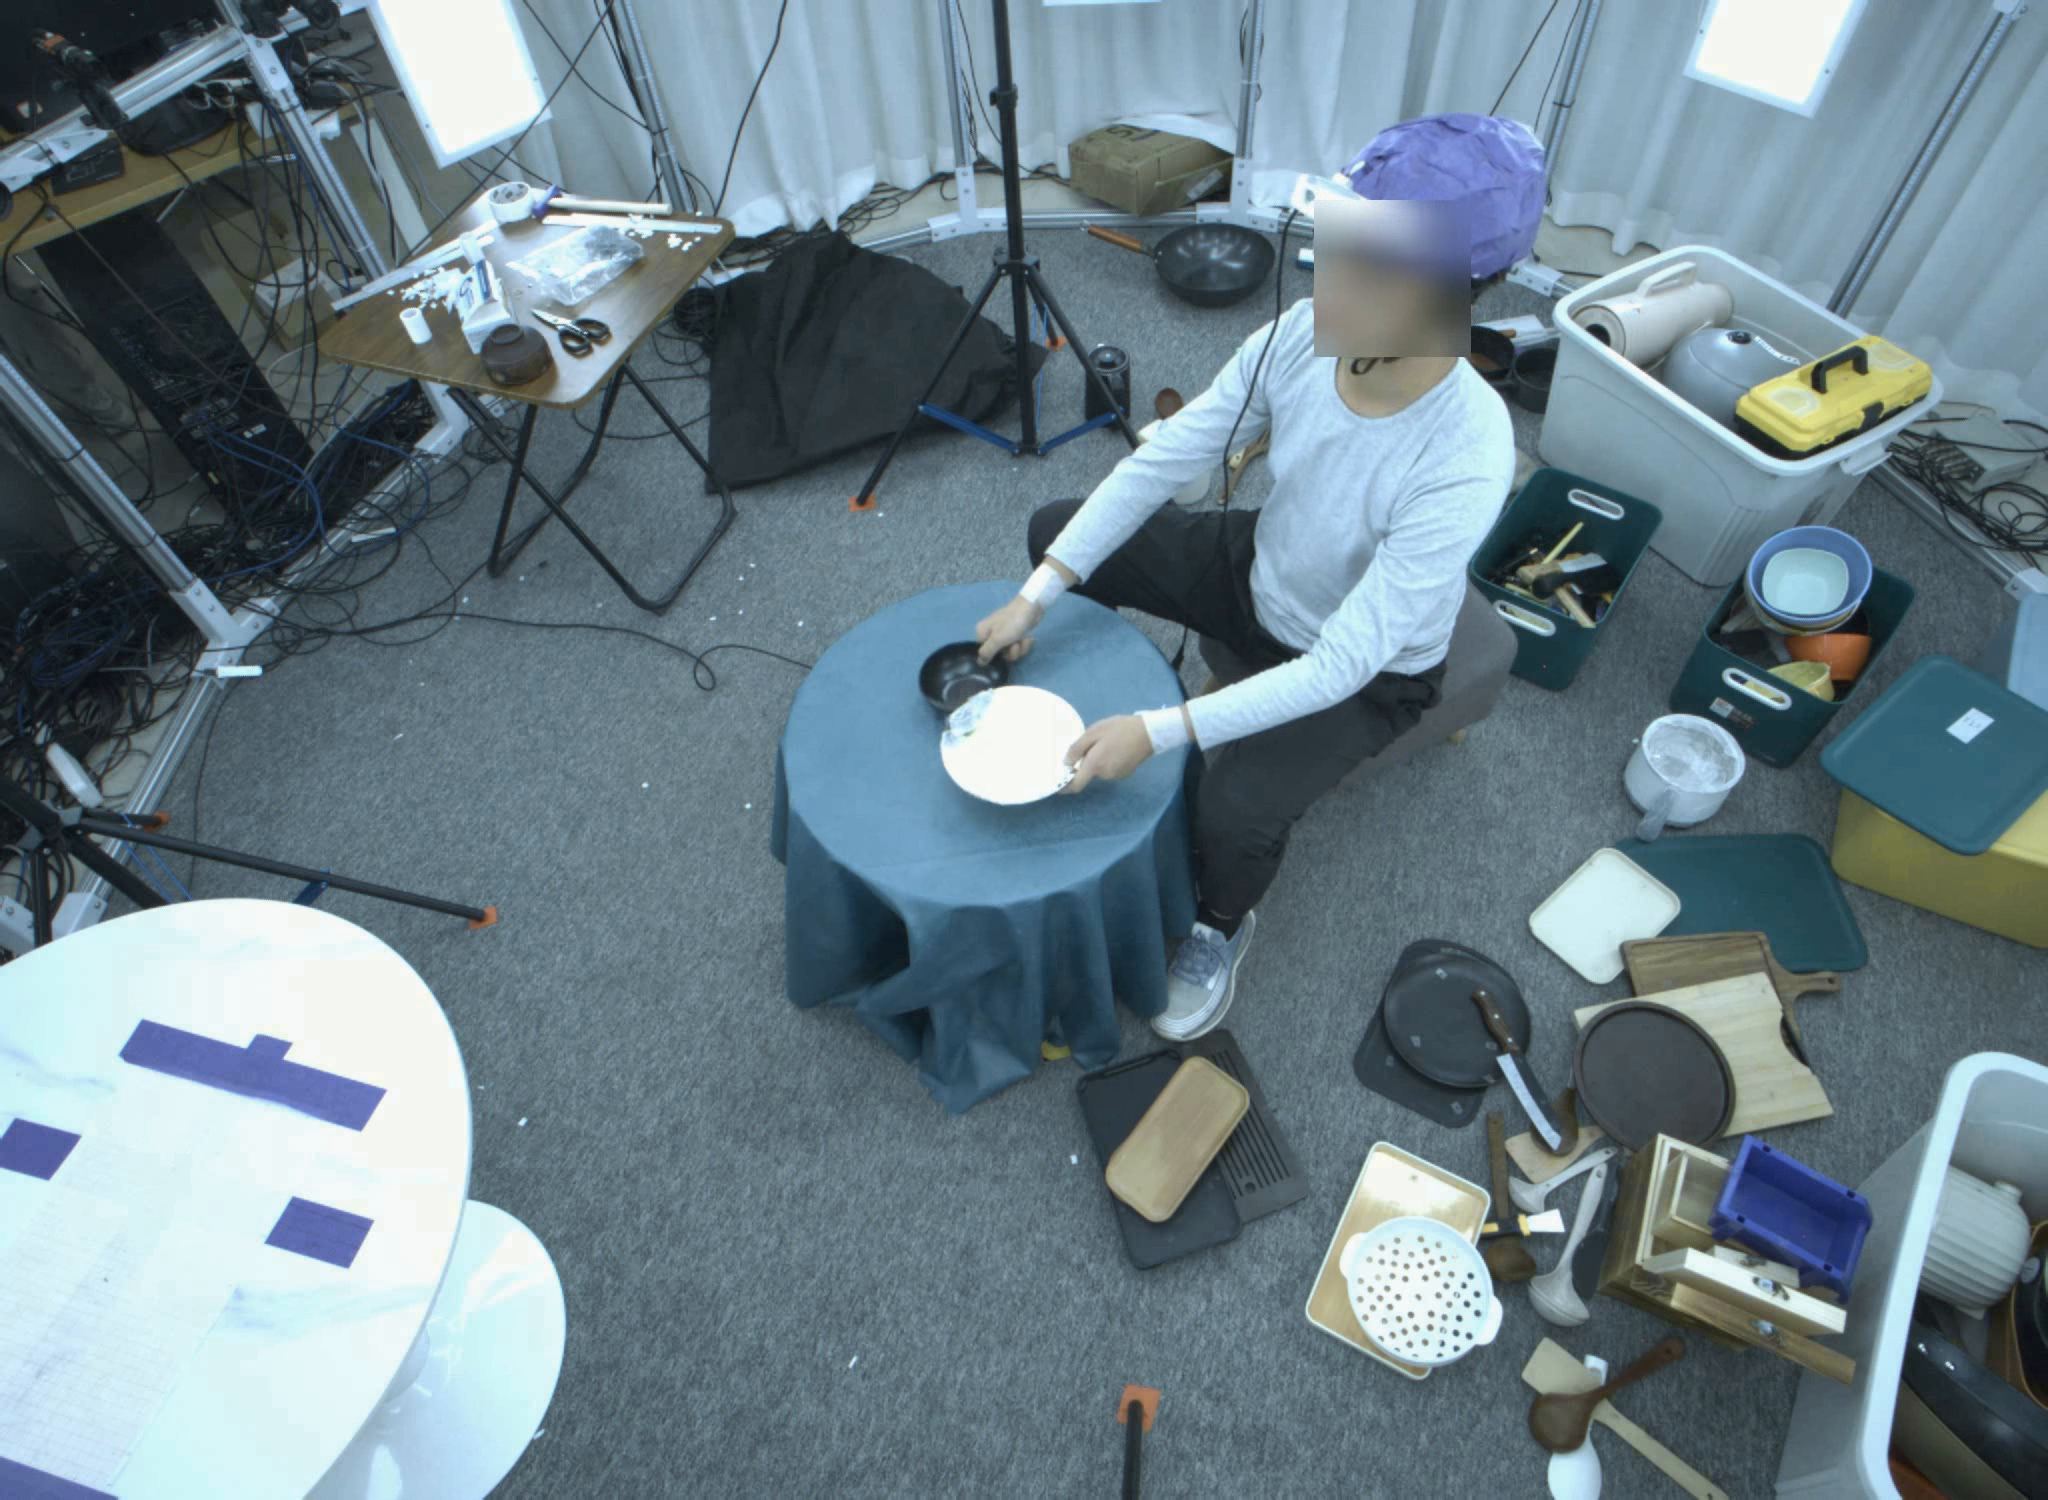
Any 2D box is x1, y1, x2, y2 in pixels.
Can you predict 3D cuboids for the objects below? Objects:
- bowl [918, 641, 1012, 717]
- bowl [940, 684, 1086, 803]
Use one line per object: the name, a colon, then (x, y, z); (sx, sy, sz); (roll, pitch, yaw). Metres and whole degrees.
bowl: (-0.088, -0.096, 1.838); (0.140, 0.050, 0.138); (2, 55, -1)
bowl: (-0.015, 0.009, 1.740); (0.204, 0.079, 0.202); (0, 55, 1)
